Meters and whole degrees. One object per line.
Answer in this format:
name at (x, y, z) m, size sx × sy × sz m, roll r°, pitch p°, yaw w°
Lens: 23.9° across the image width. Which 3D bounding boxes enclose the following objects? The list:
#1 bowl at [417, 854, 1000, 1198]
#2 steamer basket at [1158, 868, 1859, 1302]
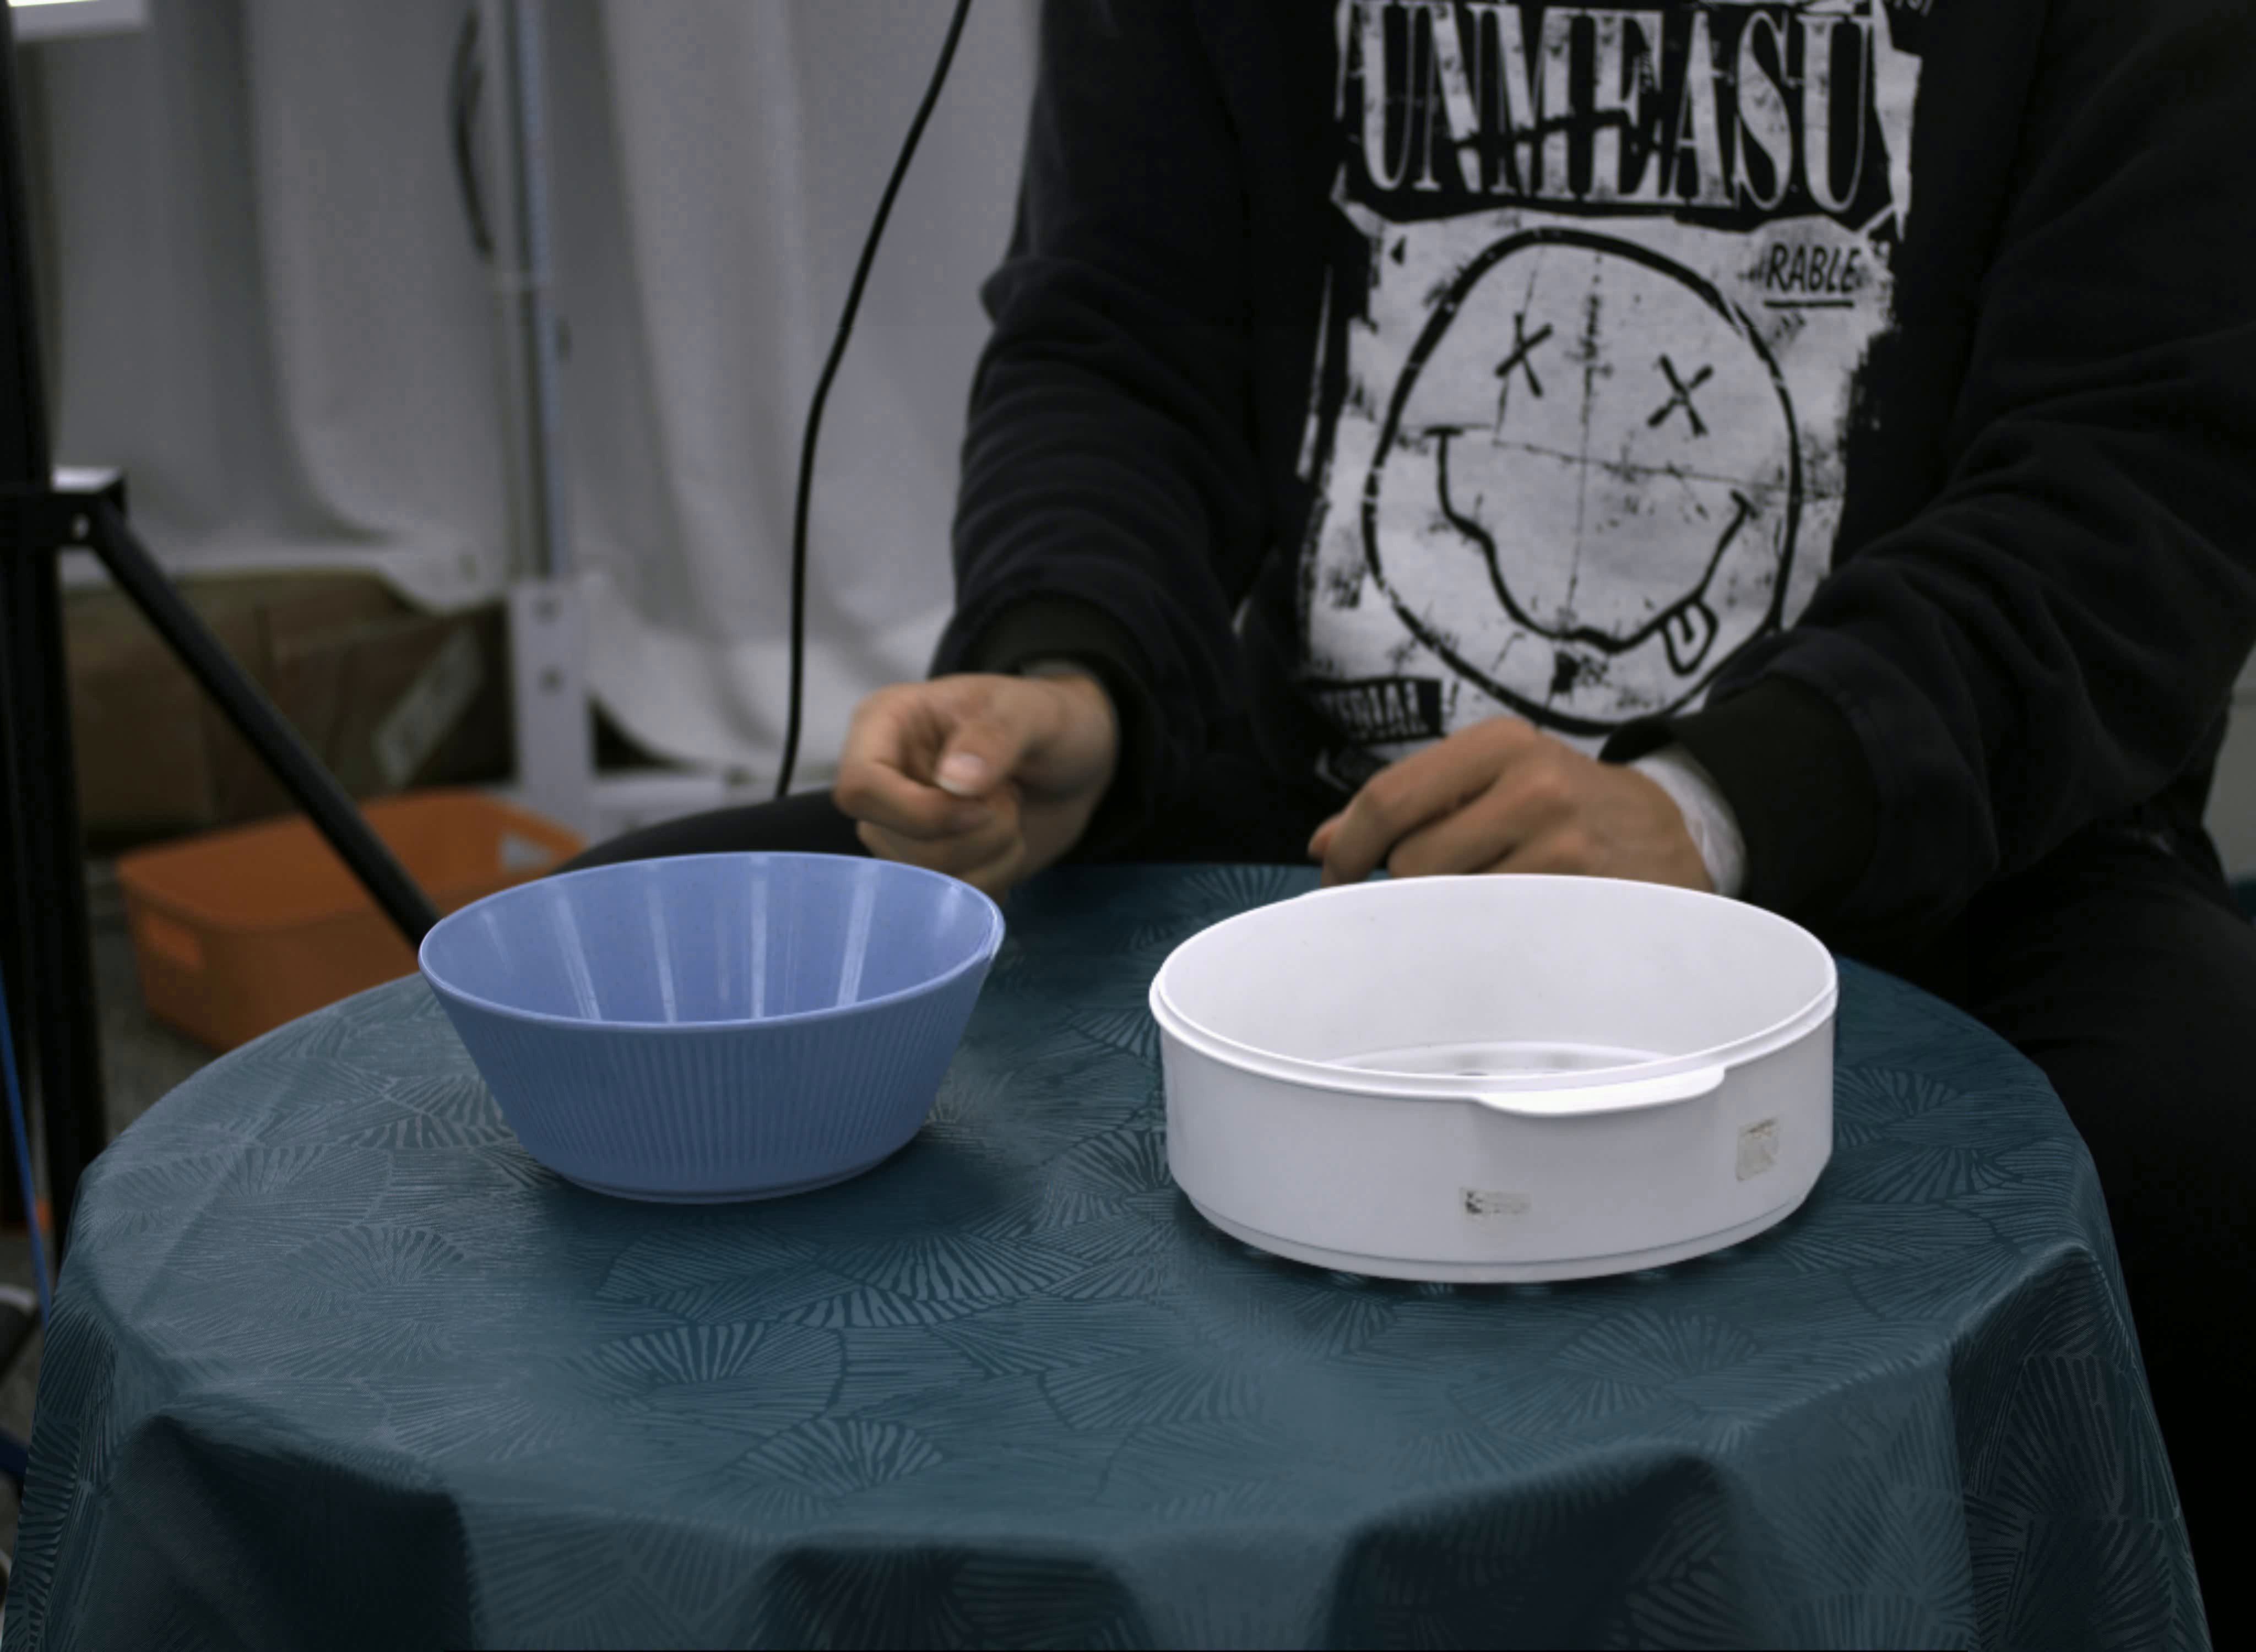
bowl at (-0.125, 0.063, 1.609) m, size 0.175 × 0.070 × 0.177 m, roll -2°, pitch 16°, yaw -1°
steamer basket at (0.110, 0.074, 1.532) m, size 0.199 × 0.069 × 0.234 m, roll -6°, pitch 18°, yaw -12°
